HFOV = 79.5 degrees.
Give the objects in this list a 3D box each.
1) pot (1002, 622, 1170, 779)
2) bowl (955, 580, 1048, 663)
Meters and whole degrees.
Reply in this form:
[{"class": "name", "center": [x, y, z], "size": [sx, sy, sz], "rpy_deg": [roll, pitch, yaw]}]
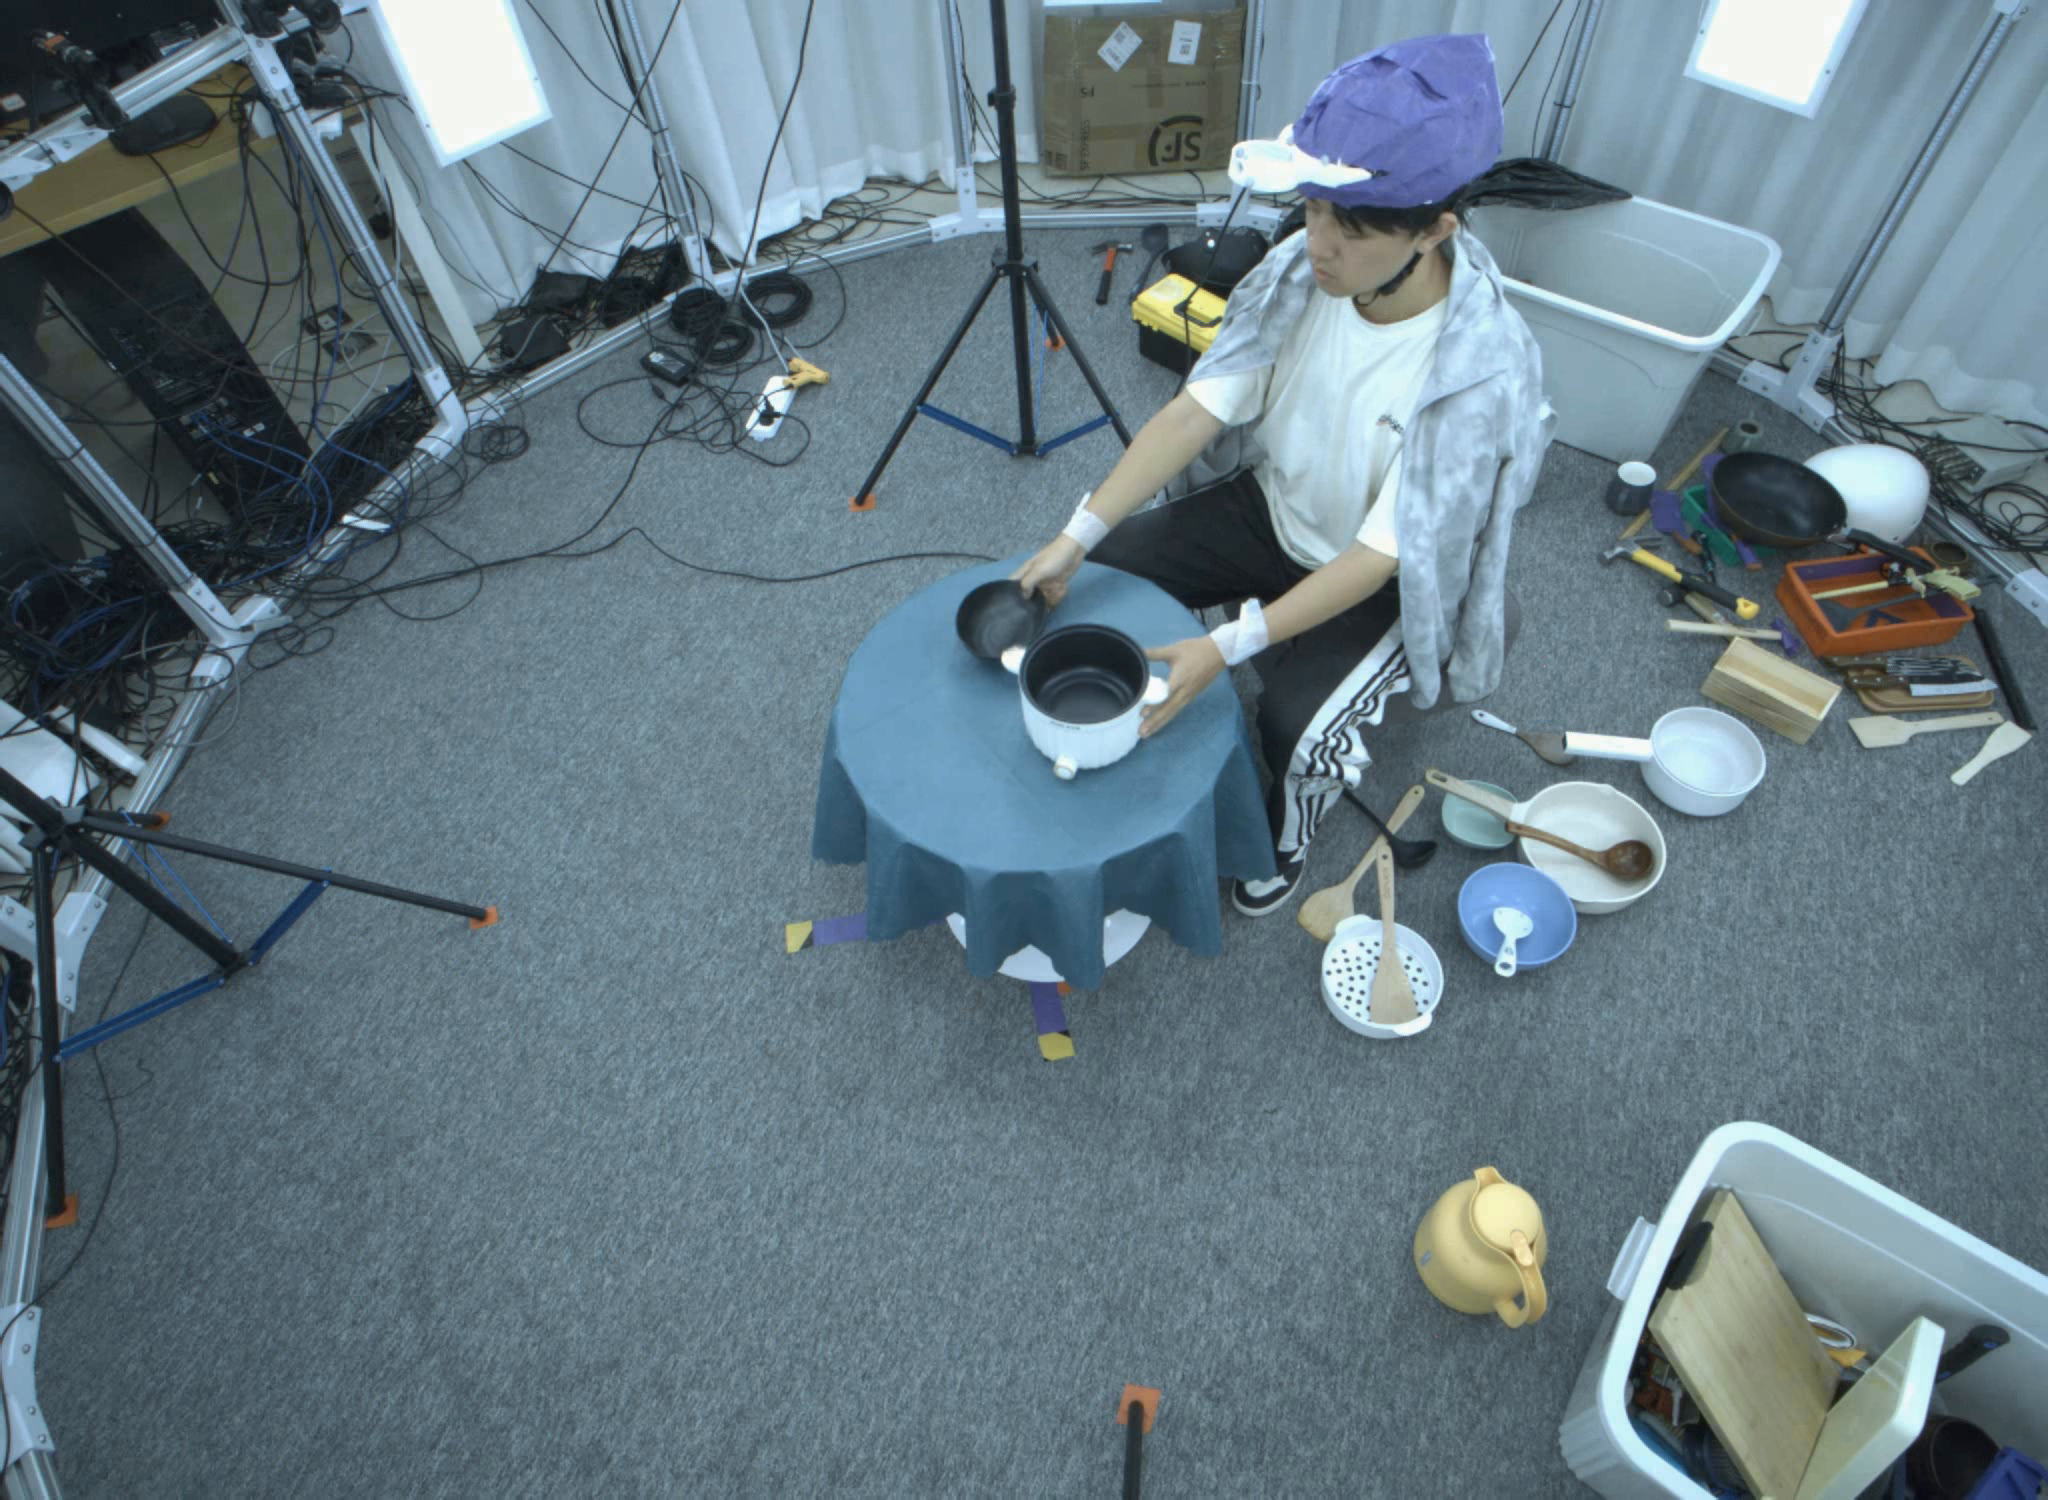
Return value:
[{"class": "pot", "center": [0.086, -0.065, 1.748], "size": [0.238, 0.144, 0.190], "rpy_deg": [13, 53, 12]}, {"class": "bowl", "center": [-0.032, -0.190, 1.884], "size": [0.136, 0.067, 0.170], "rpy_deg": [14, 55, 11]}]
